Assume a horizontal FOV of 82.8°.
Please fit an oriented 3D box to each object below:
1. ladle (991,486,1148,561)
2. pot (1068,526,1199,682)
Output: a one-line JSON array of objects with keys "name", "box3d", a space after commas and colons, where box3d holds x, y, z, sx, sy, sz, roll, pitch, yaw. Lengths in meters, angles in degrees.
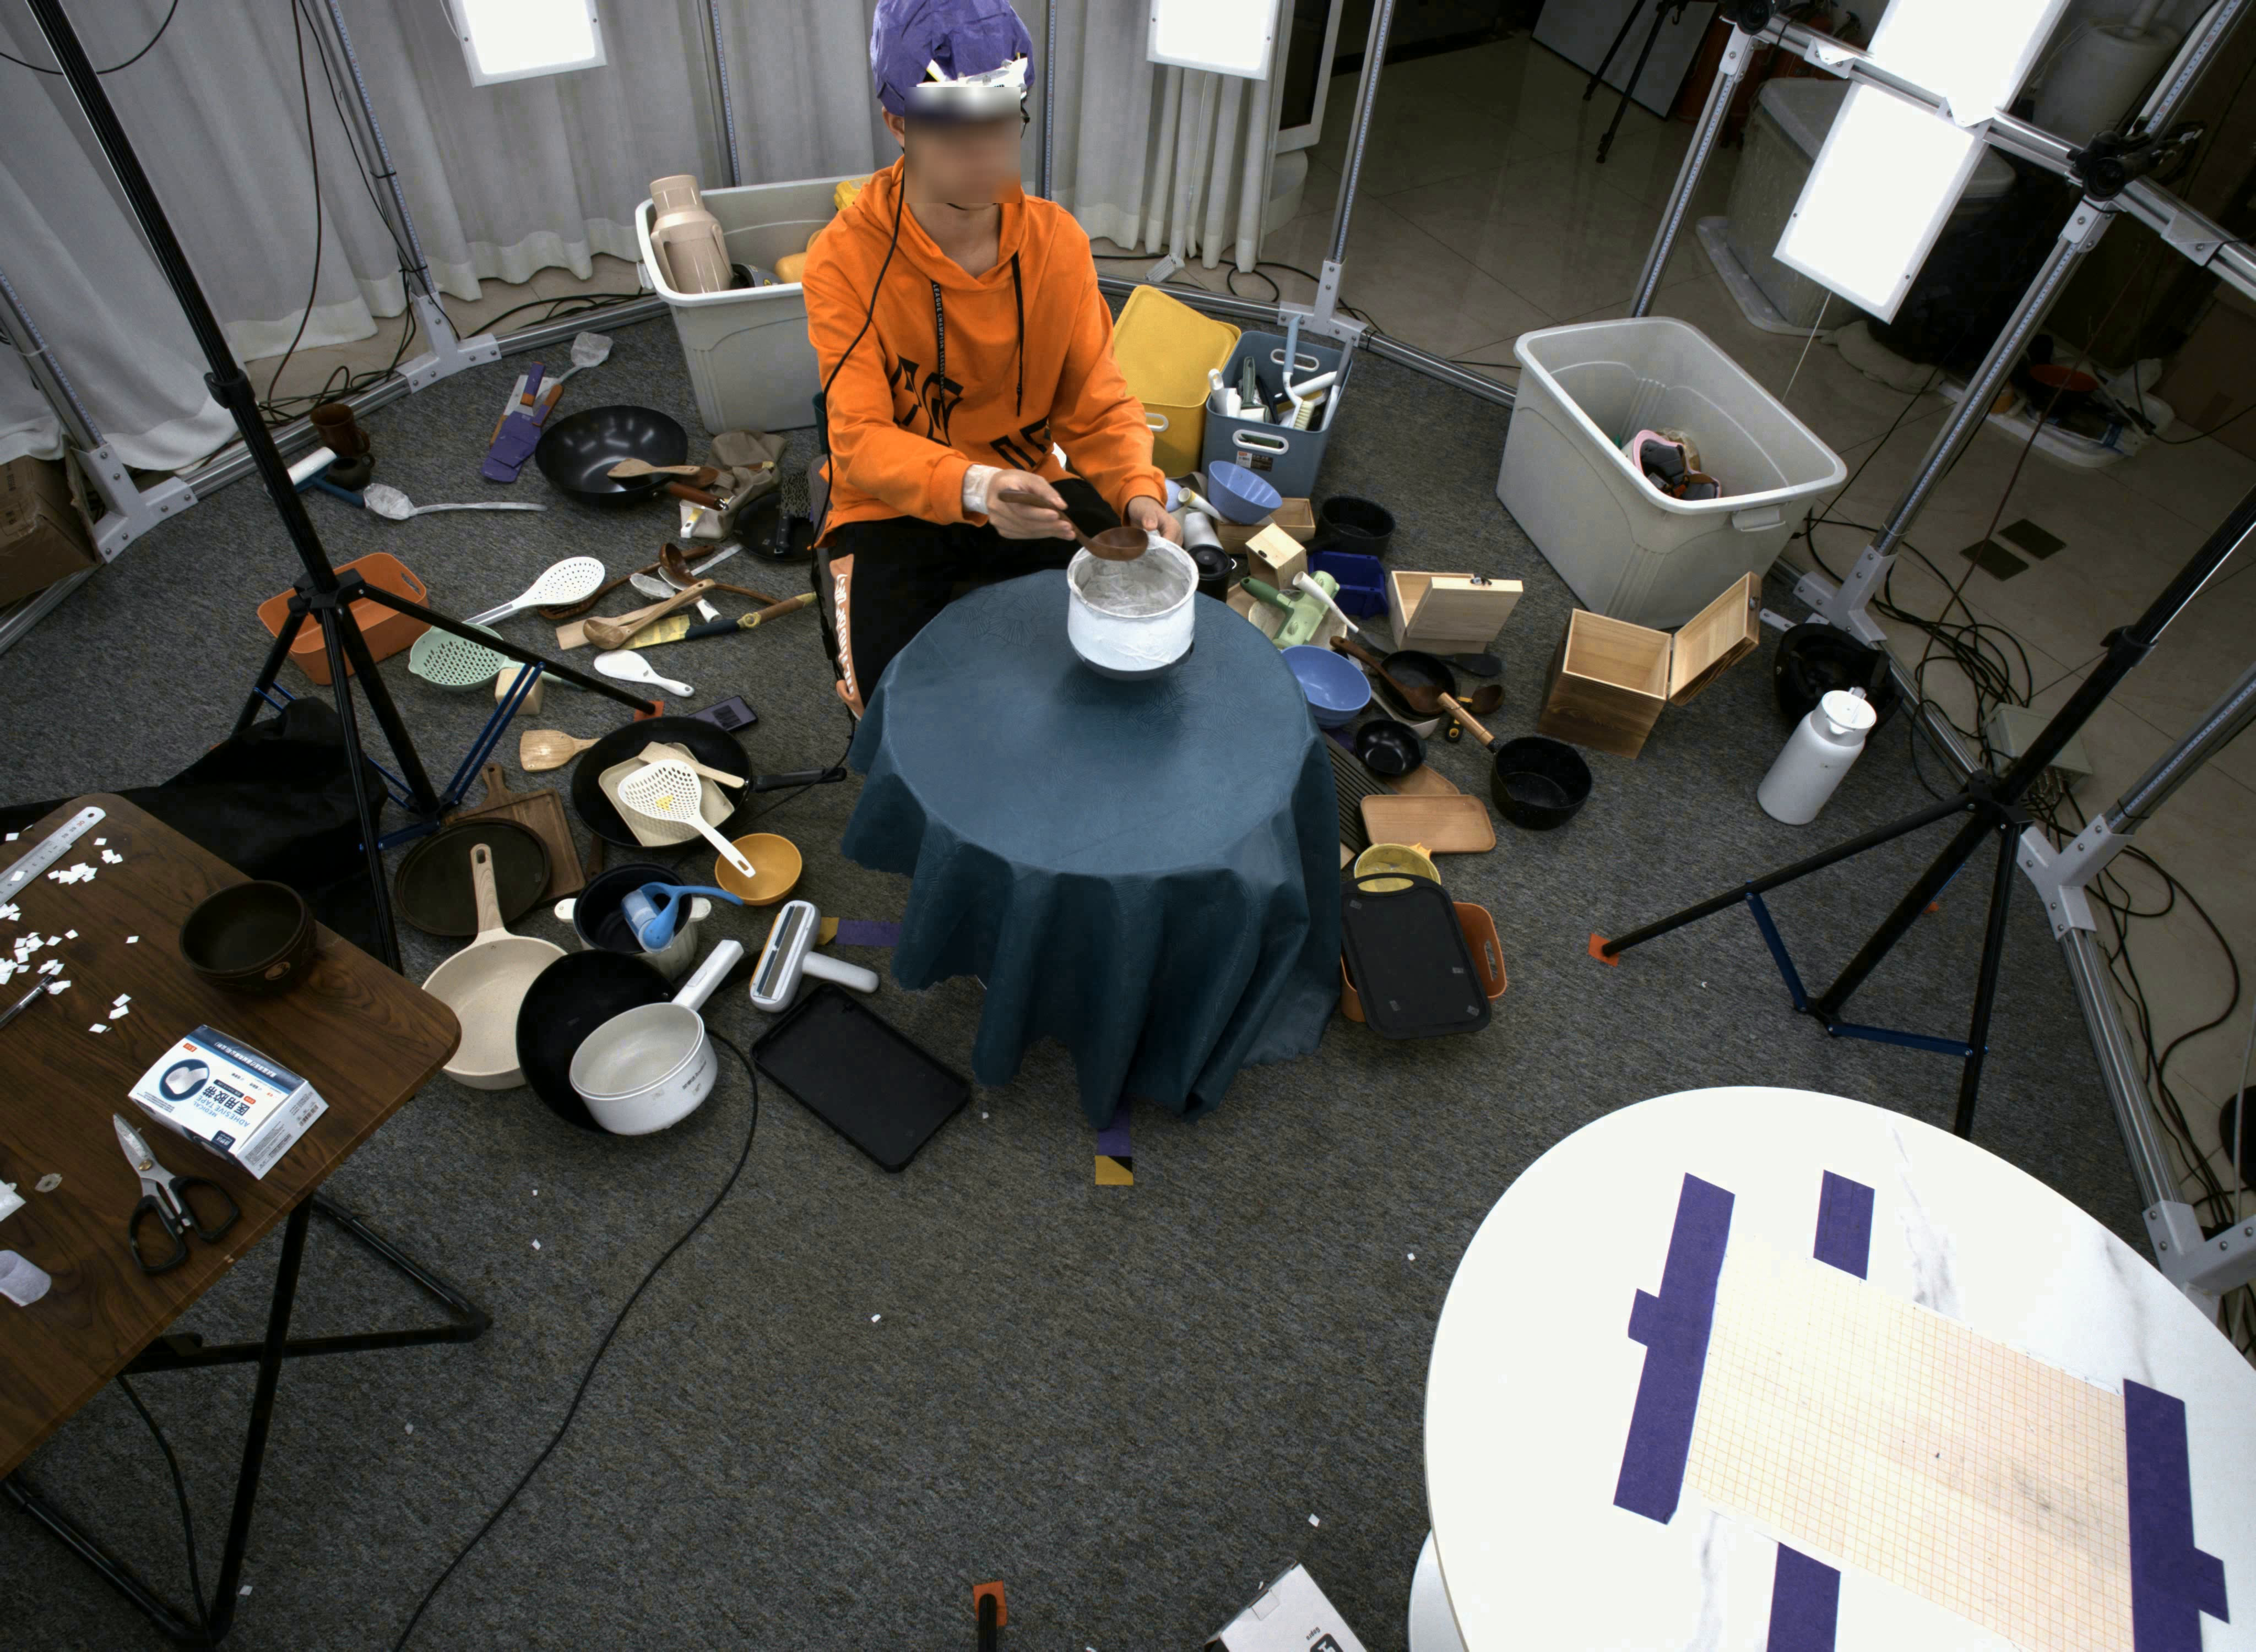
[{"name": "ladle", "box3d": [-0.071, -0.398, 1.646, 0.077, 0.257, 0.065, 20, 90, 42]}, {"name": "pot", "box3d": [0.012, -0.319, 1.793, 0.179, 0.133, 0.239, 10, 49, 7]}]
